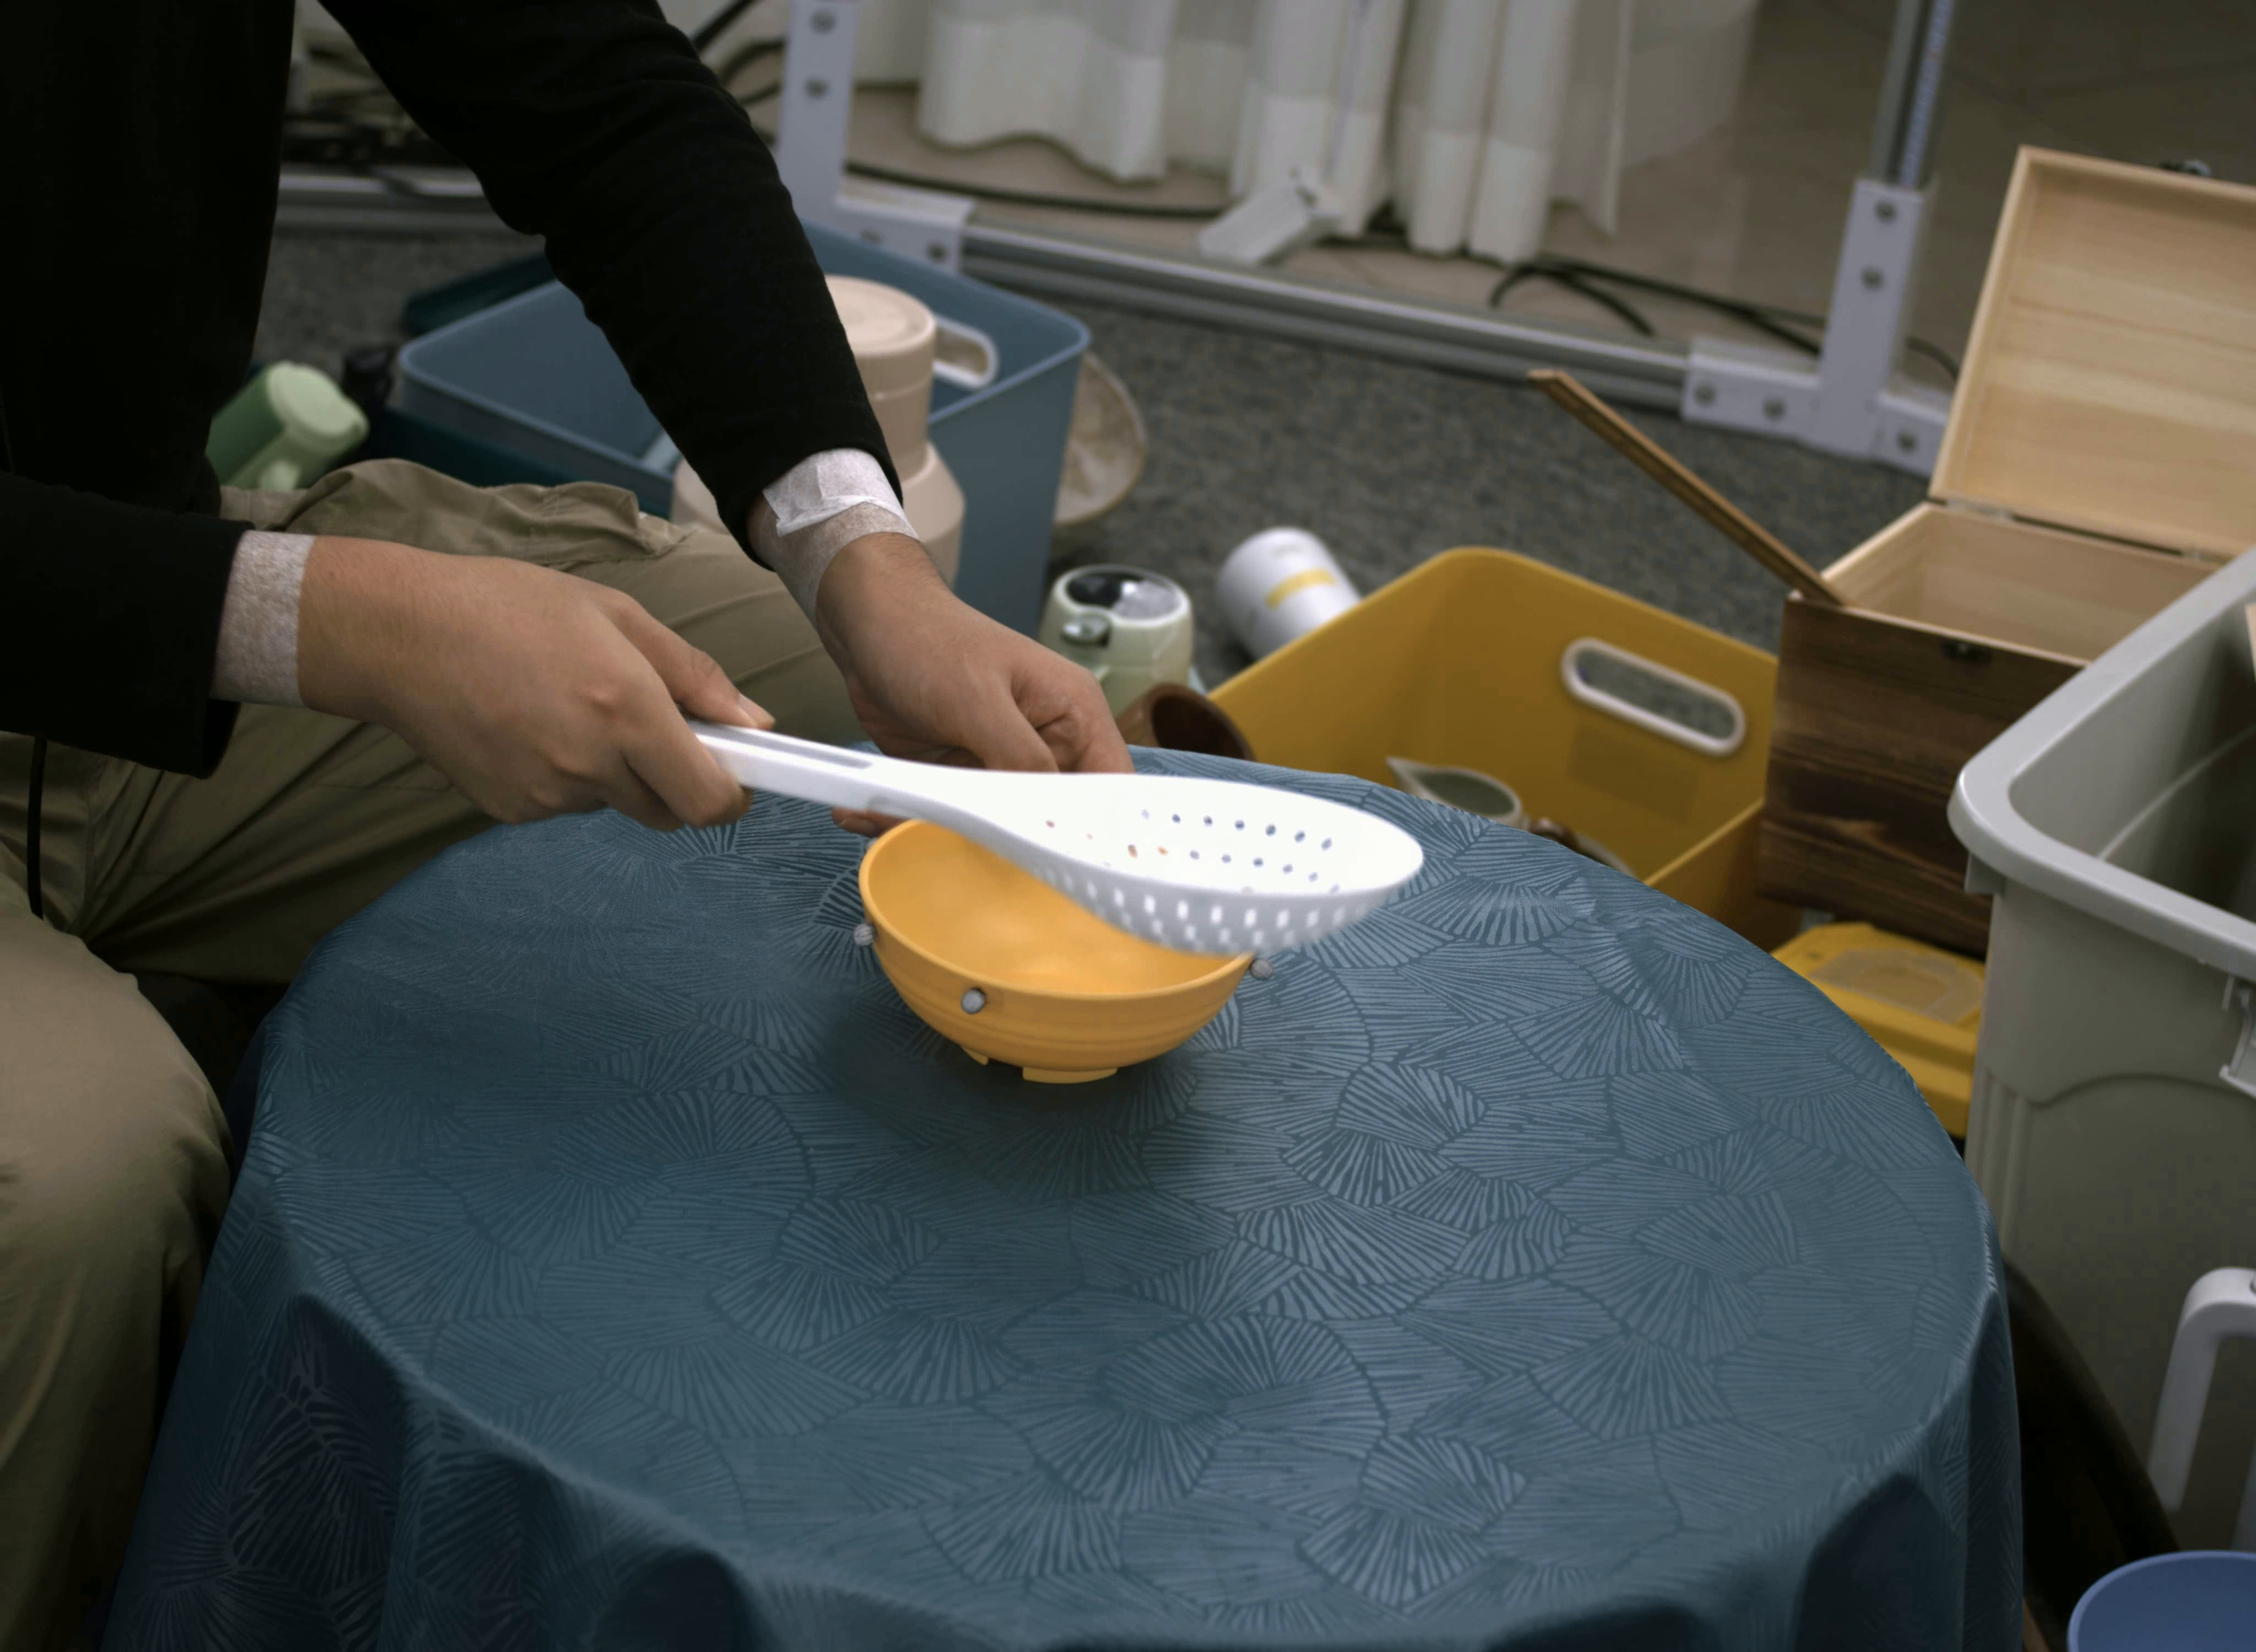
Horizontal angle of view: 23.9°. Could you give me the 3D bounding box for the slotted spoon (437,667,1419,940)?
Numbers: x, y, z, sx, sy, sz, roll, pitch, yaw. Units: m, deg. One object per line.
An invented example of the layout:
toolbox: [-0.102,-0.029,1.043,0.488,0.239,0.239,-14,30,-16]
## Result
slotted spoon: [-0.073,-0.015,1.786,0.350,0.046,0.136,15,15,18]

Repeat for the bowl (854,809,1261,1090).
bowl: [-0.028,0.051,1.879,0.145,0.060,0.146,7,26,-4]
